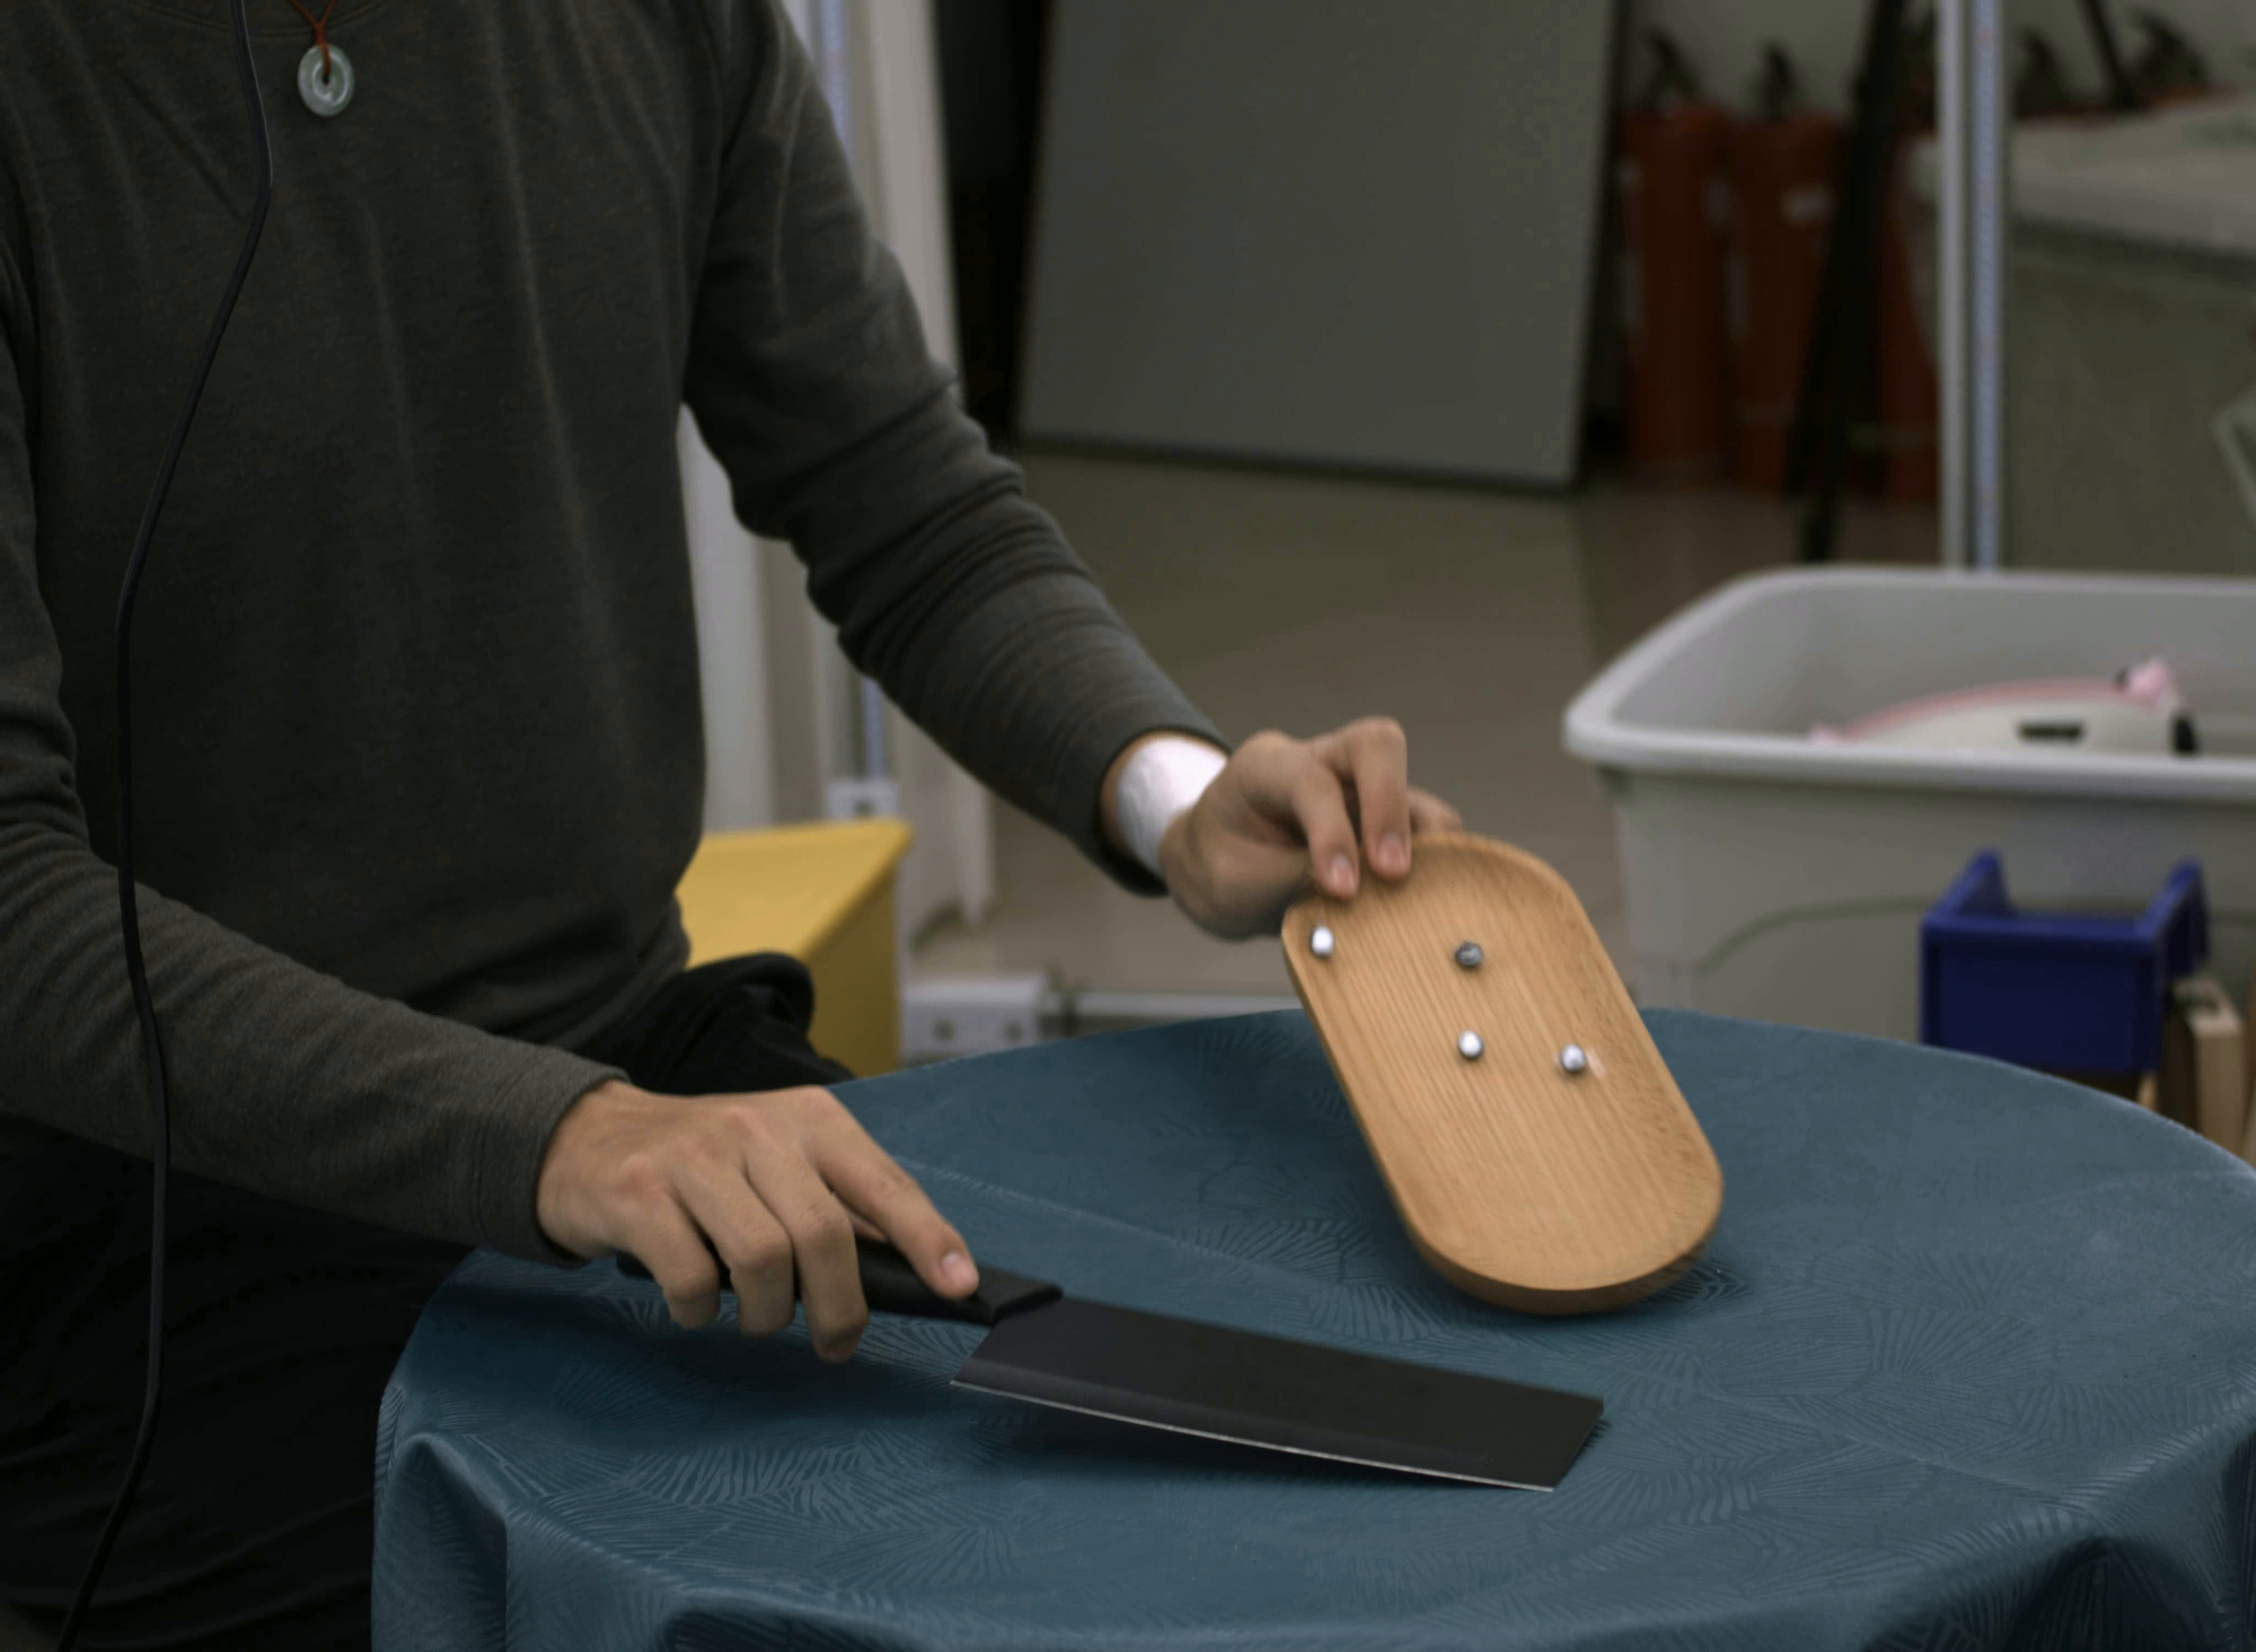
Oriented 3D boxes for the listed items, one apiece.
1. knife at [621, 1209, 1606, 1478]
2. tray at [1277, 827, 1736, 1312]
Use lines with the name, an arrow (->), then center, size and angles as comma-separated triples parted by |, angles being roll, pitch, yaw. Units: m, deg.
knife -> -0.010, 0.150, 1.562 | 0.302, 0.021, 0.080 | 10, 23, 23
tray -> 0.118, 0.074, 1.706 | 0.100, 0.020, 0.234 | -15, 40, -9
